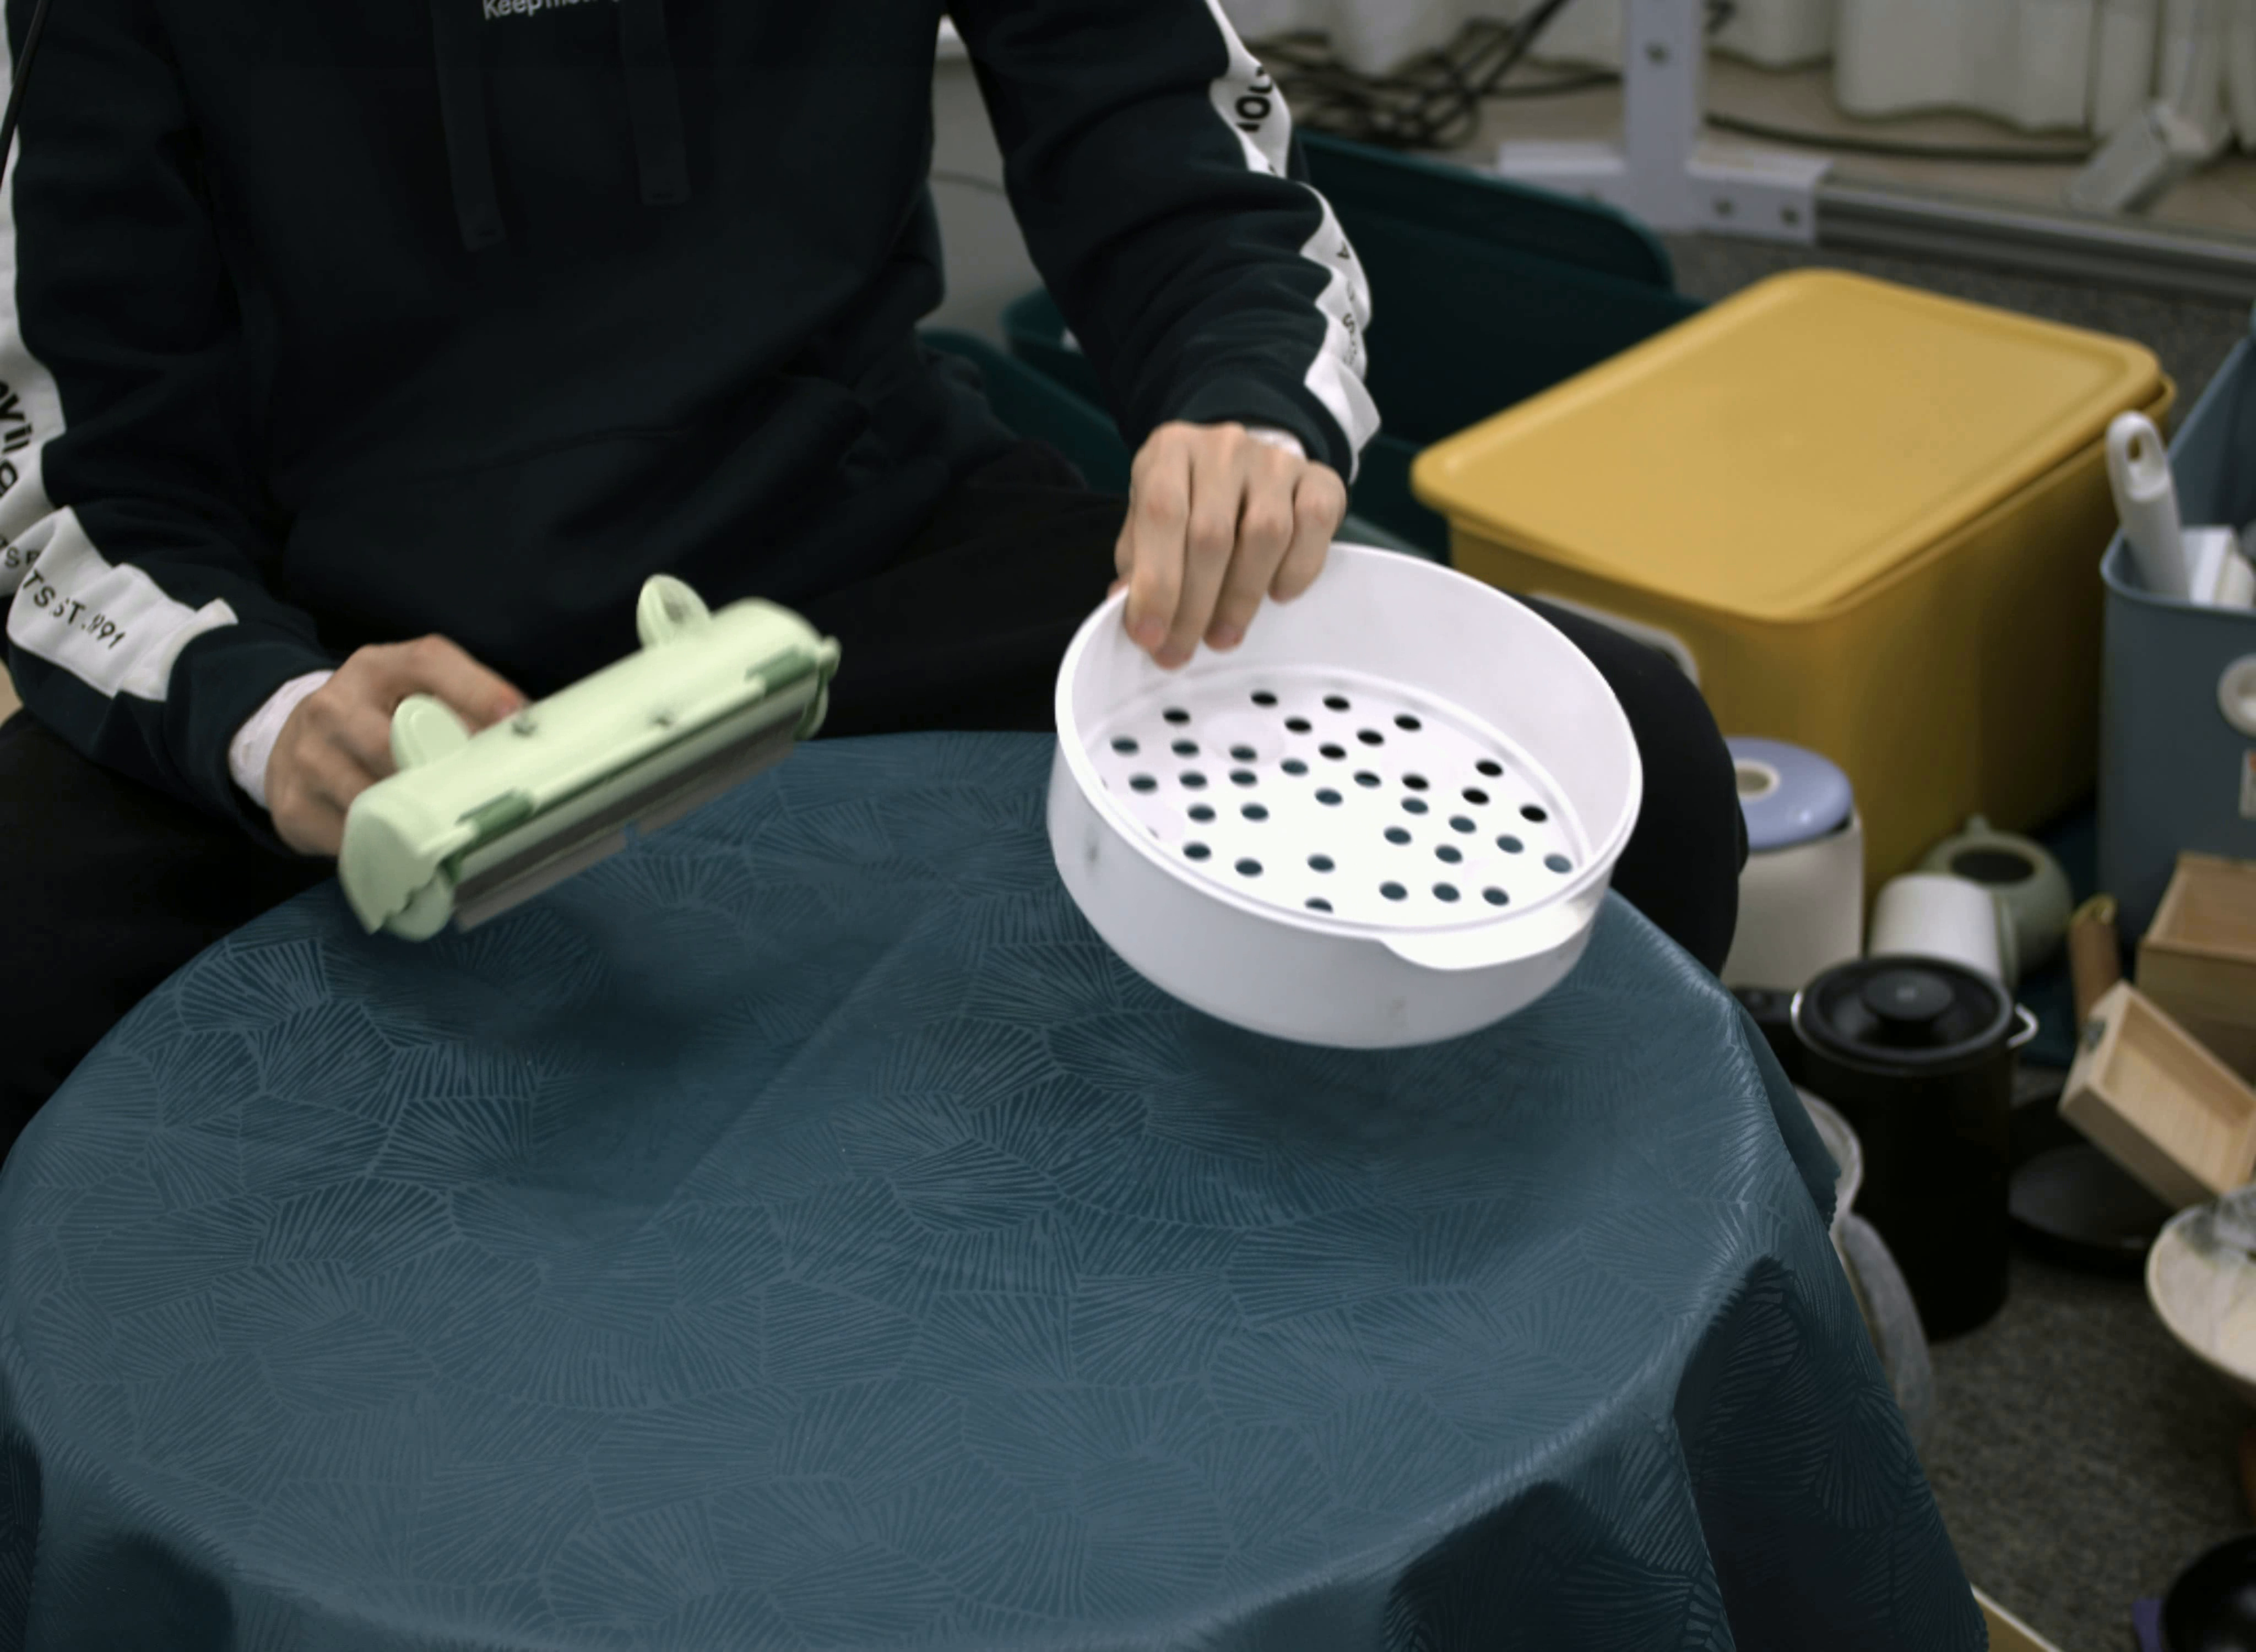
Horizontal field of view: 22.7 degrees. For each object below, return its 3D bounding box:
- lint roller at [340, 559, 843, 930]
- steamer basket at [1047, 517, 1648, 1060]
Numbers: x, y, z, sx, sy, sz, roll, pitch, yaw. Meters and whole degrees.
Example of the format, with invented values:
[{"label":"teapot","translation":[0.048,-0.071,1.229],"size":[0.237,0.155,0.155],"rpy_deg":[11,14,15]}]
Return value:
[{"label":"lint roller","translation":[-0.224,-0.033,1.970],"size":[0.182,0.082,0.201],"rpy_deg":[2,24,43]},{"label":"steamer basket","translation":[0.072,-0.009,1.905],"size":[0.203,0.068,0.233],"rpy_deg":[-11,47,-25]}]
